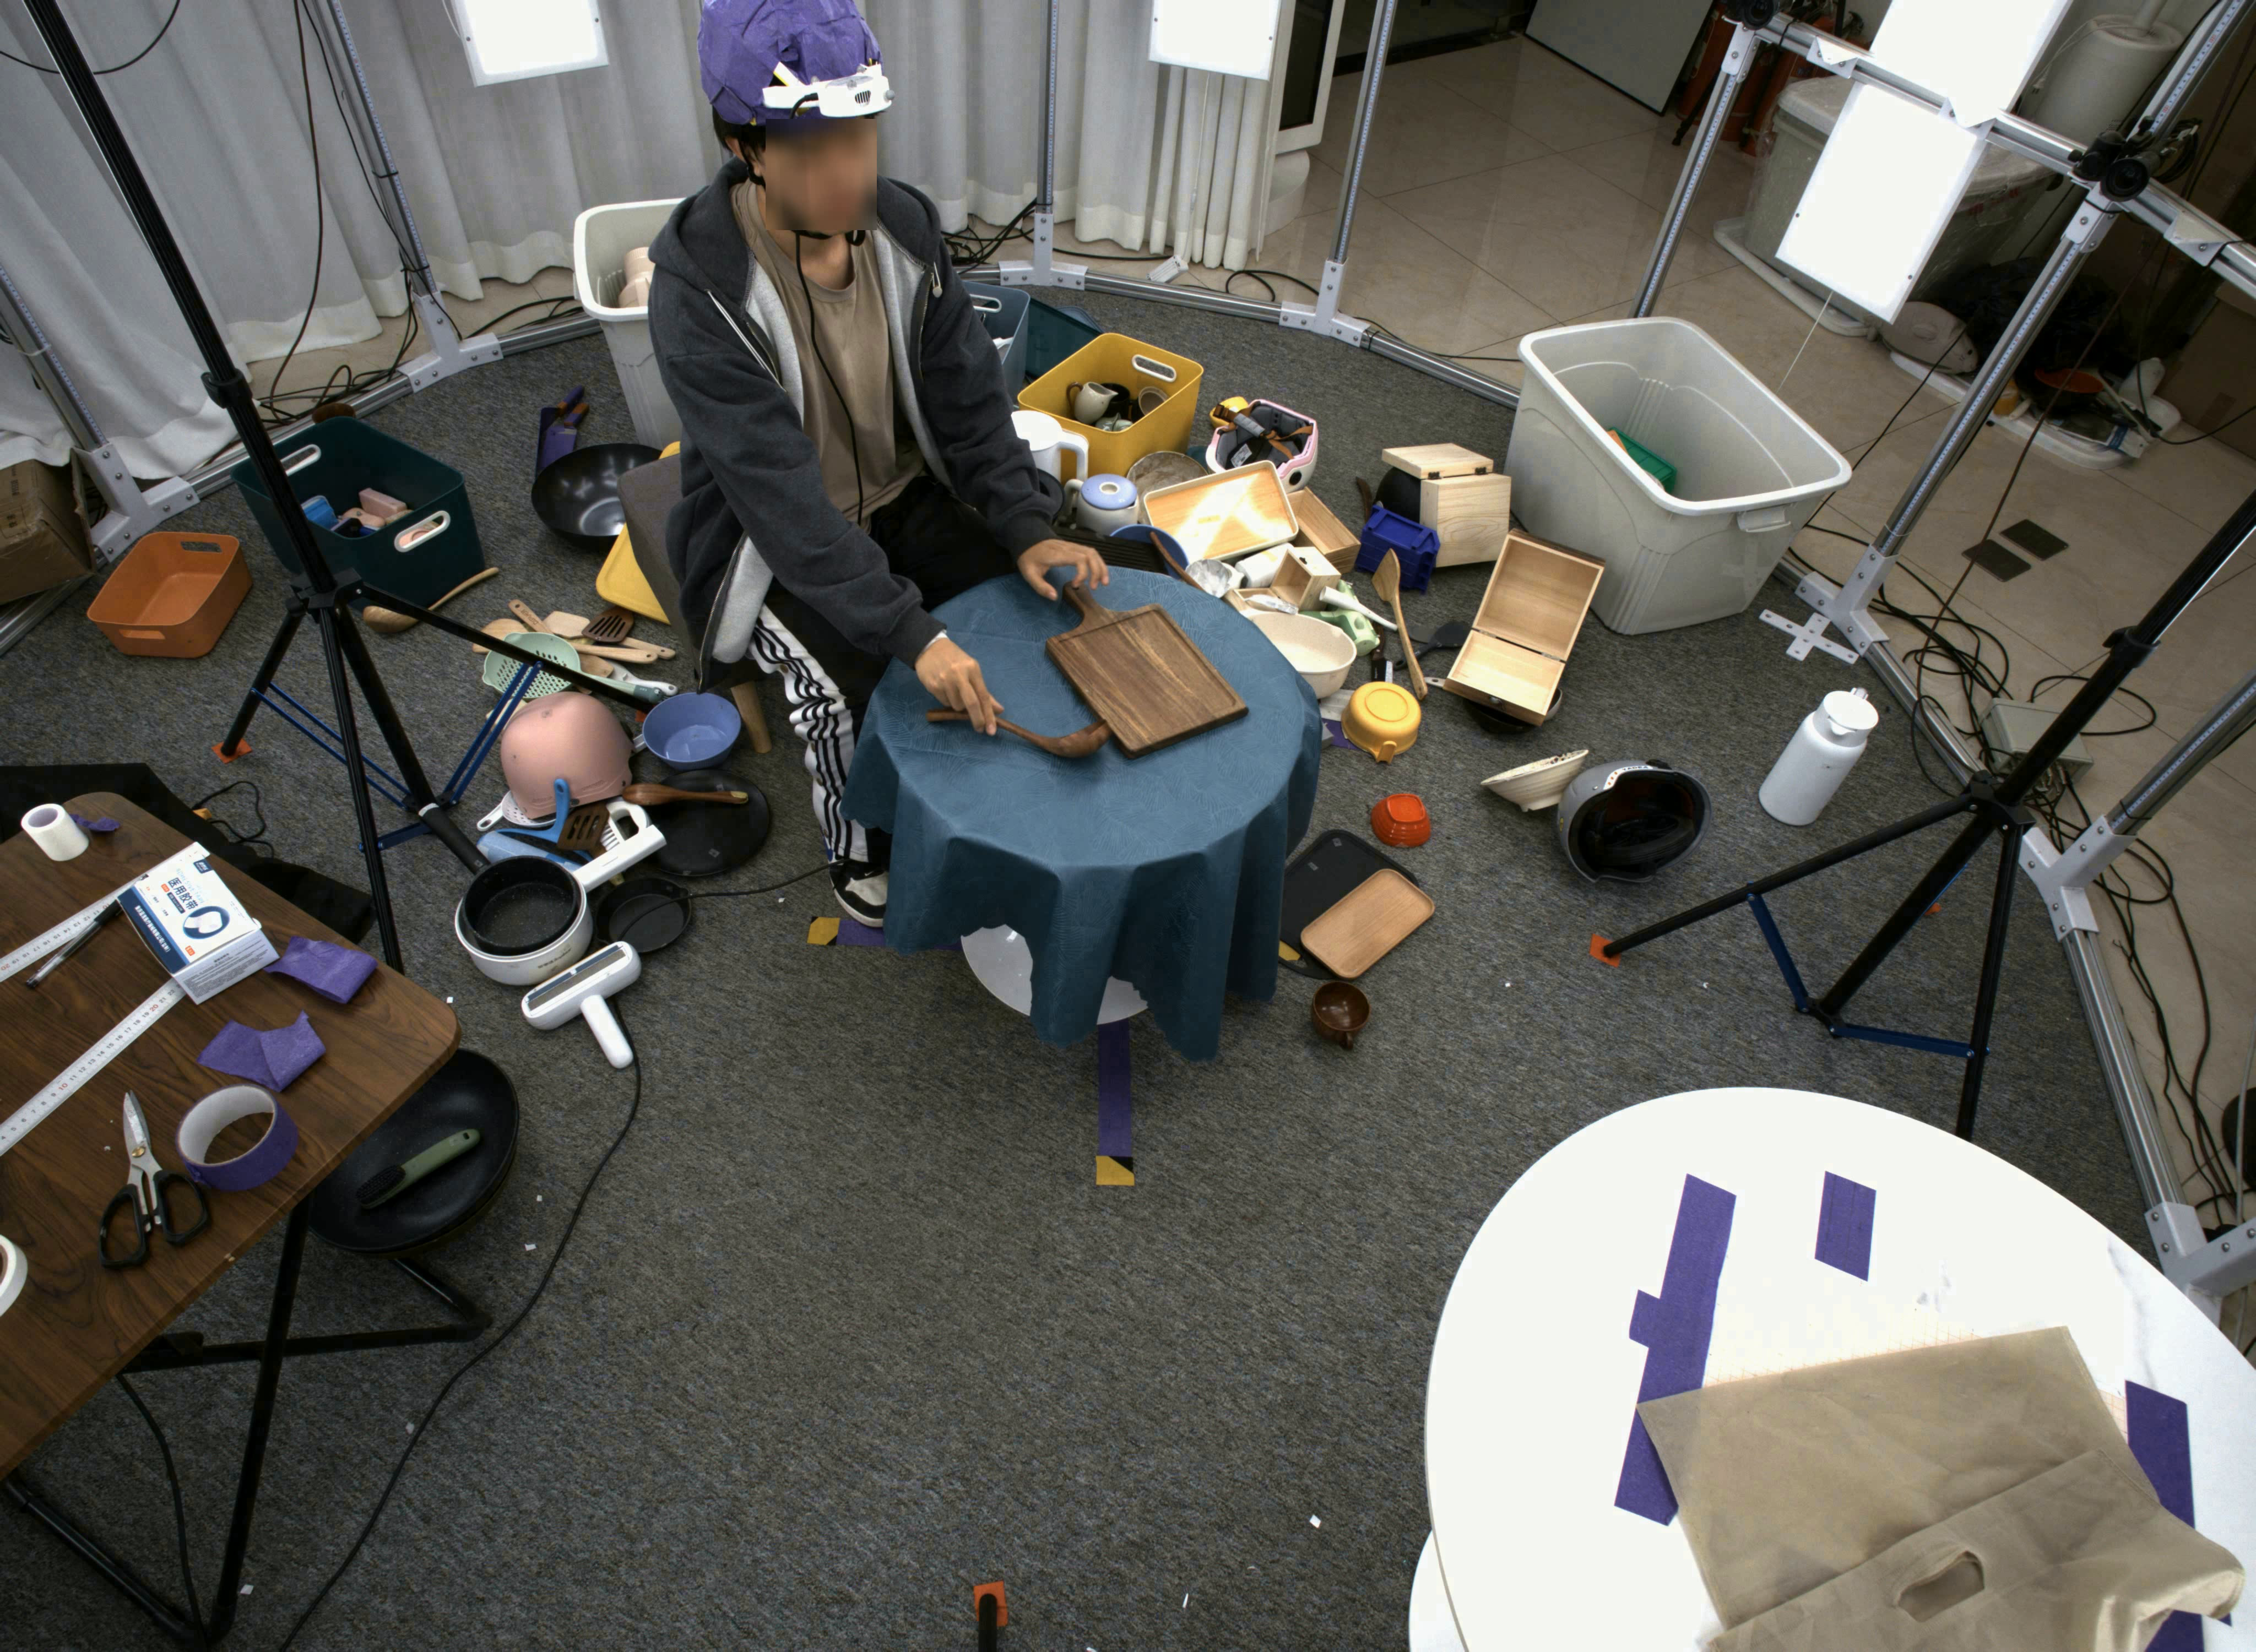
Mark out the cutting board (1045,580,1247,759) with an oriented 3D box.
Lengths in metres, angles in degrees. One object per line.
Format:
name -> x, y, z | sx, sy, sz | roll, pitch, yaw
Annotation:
cutting board -> -0.001, -0.248, 1.867 | 0.201, 0.022, 0.359 | -21, 54, -22

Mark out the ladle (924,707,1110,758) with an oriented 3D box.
ladle -> -0.151, -0.143, 1.739 | 0.261, 0.064, 0.077 | 16, 22, 11
